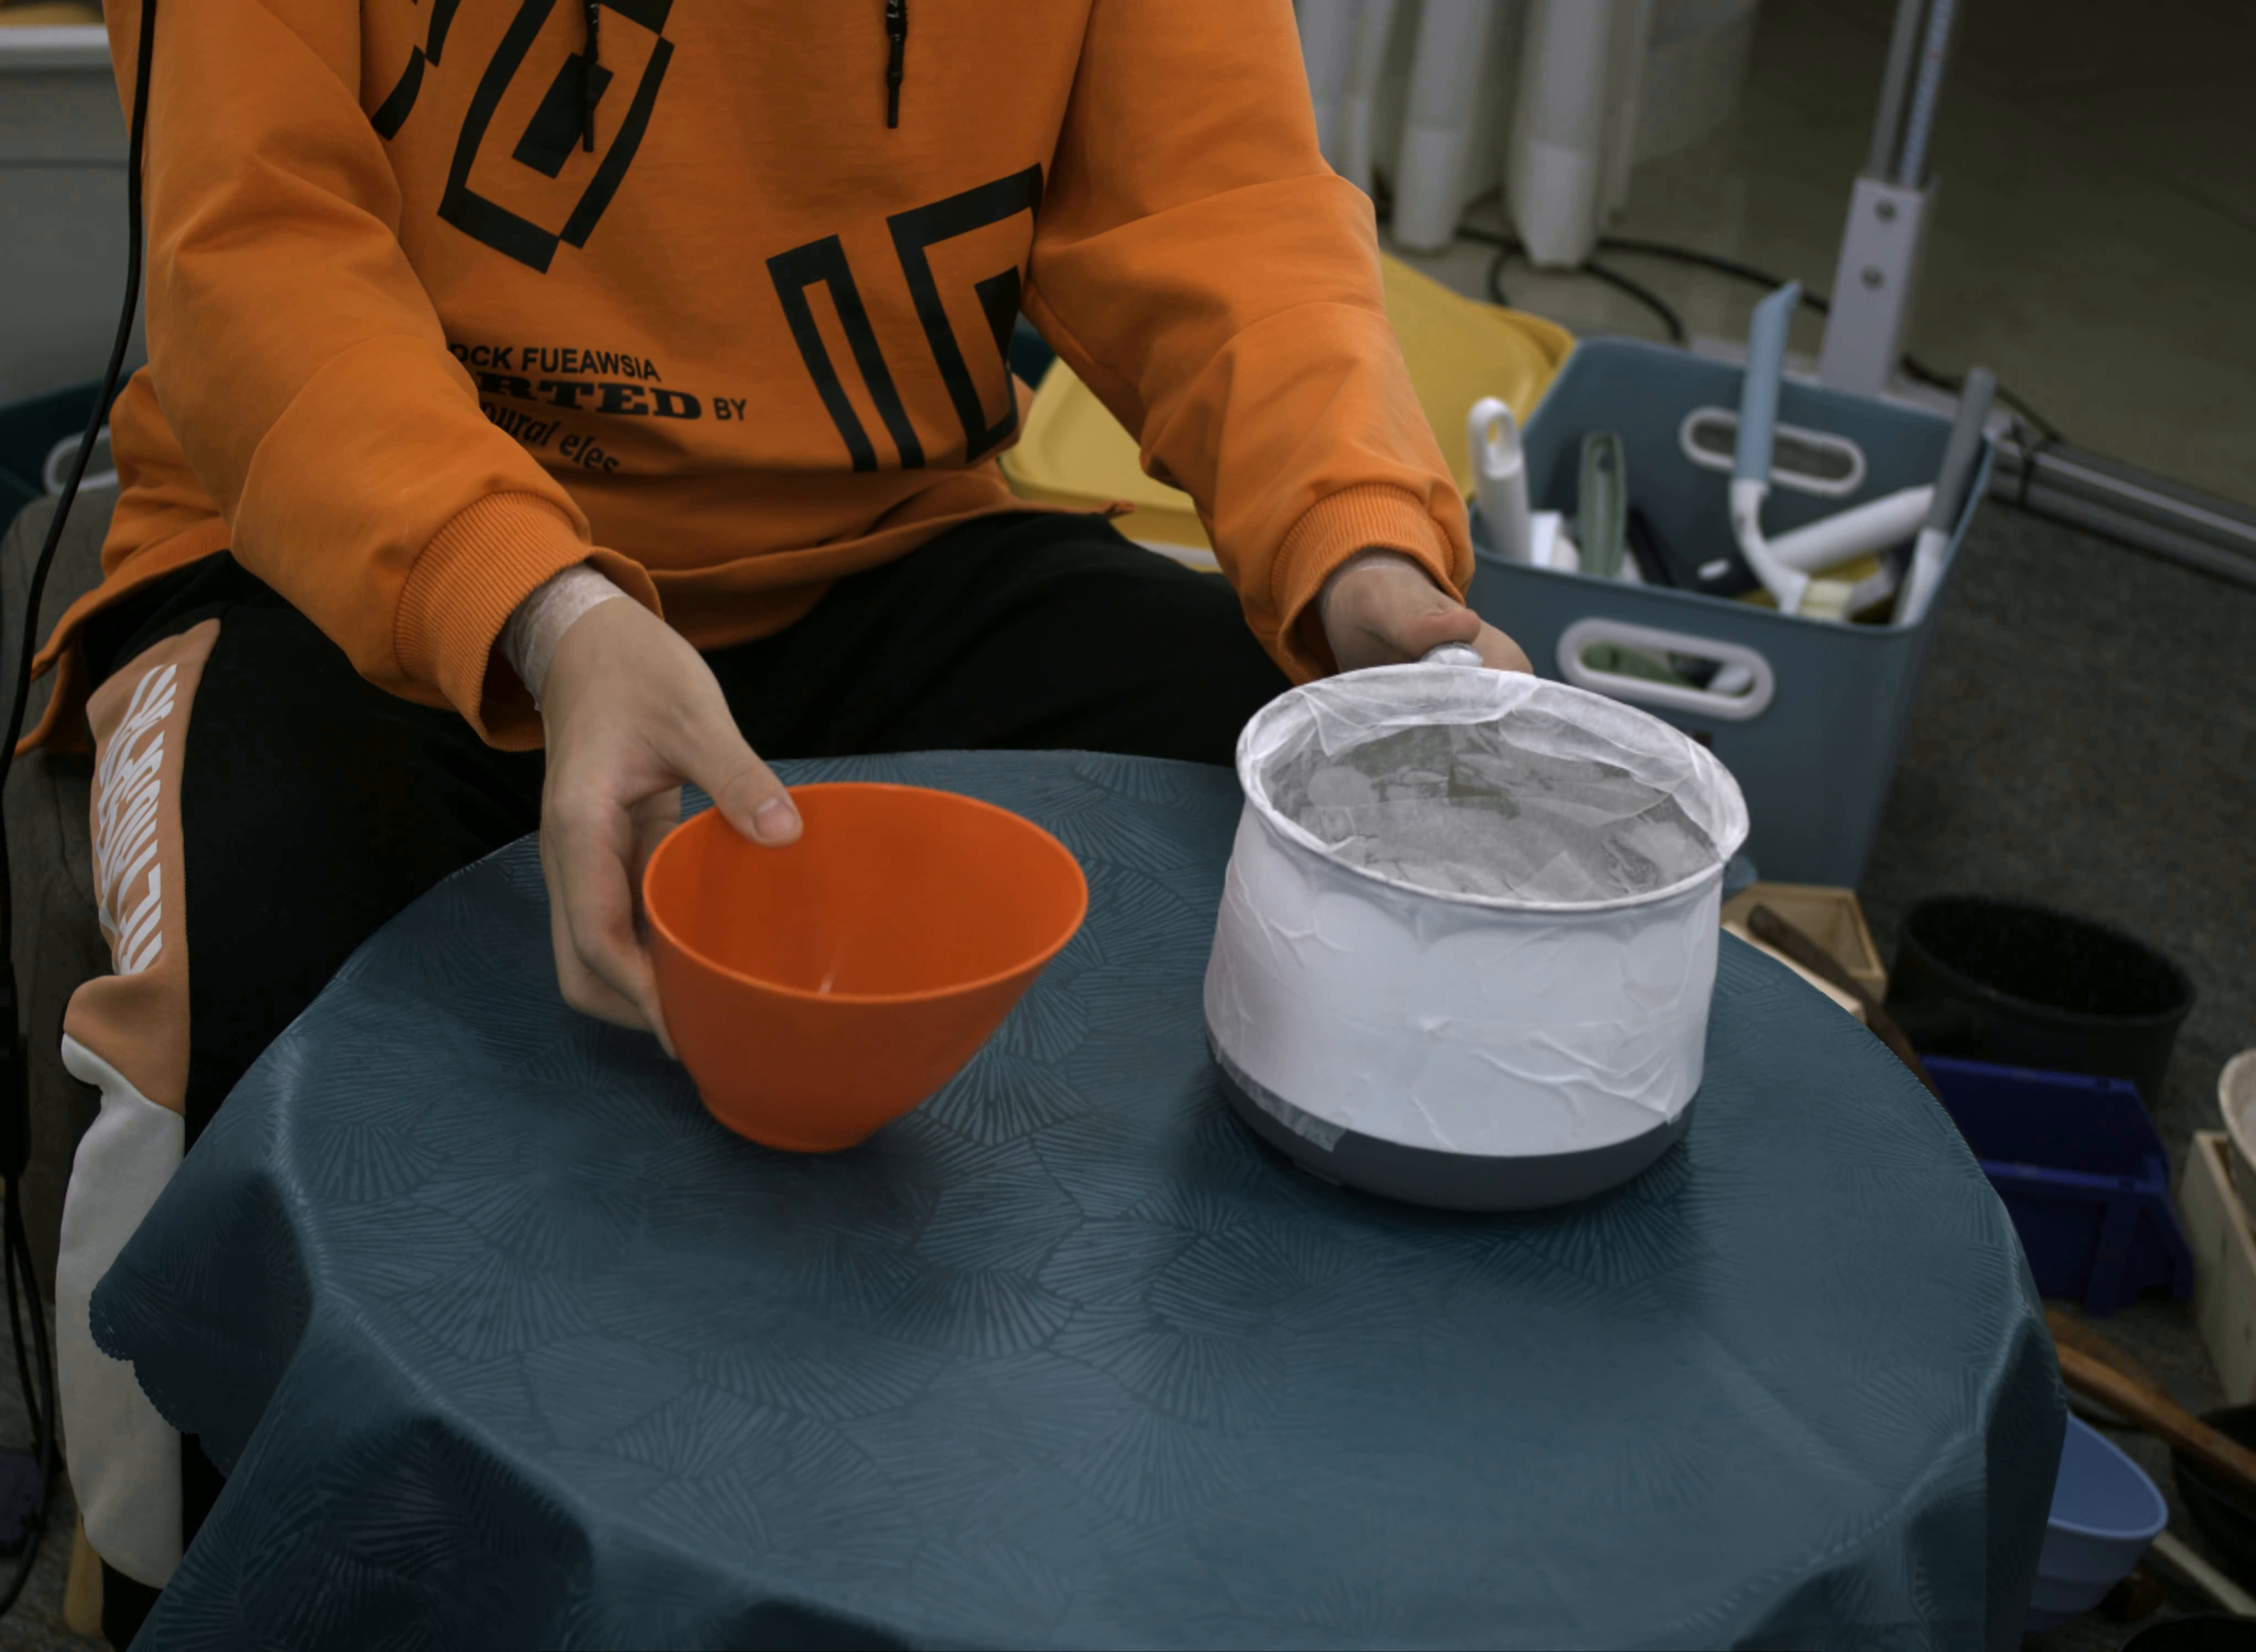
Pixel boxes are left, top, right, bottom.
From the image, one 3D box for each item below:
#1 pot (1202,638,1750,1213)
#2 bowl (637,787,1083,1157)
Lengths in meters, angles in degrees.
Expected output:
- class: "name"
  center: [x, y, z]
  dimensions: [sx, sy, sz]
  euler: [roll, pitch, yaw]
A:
- class: "pot"
  center: [0.114, 0.027, 1.865]
  dimensions: [0.178, 0.136, 0.235]
  euler: [3, 28, -8]
- class: "bowl"
  center: [-0.096, 0.055, 1.789]
  dimensions: [0.147, 0.104, 0.149]
  euler: [8, 31, -5]
